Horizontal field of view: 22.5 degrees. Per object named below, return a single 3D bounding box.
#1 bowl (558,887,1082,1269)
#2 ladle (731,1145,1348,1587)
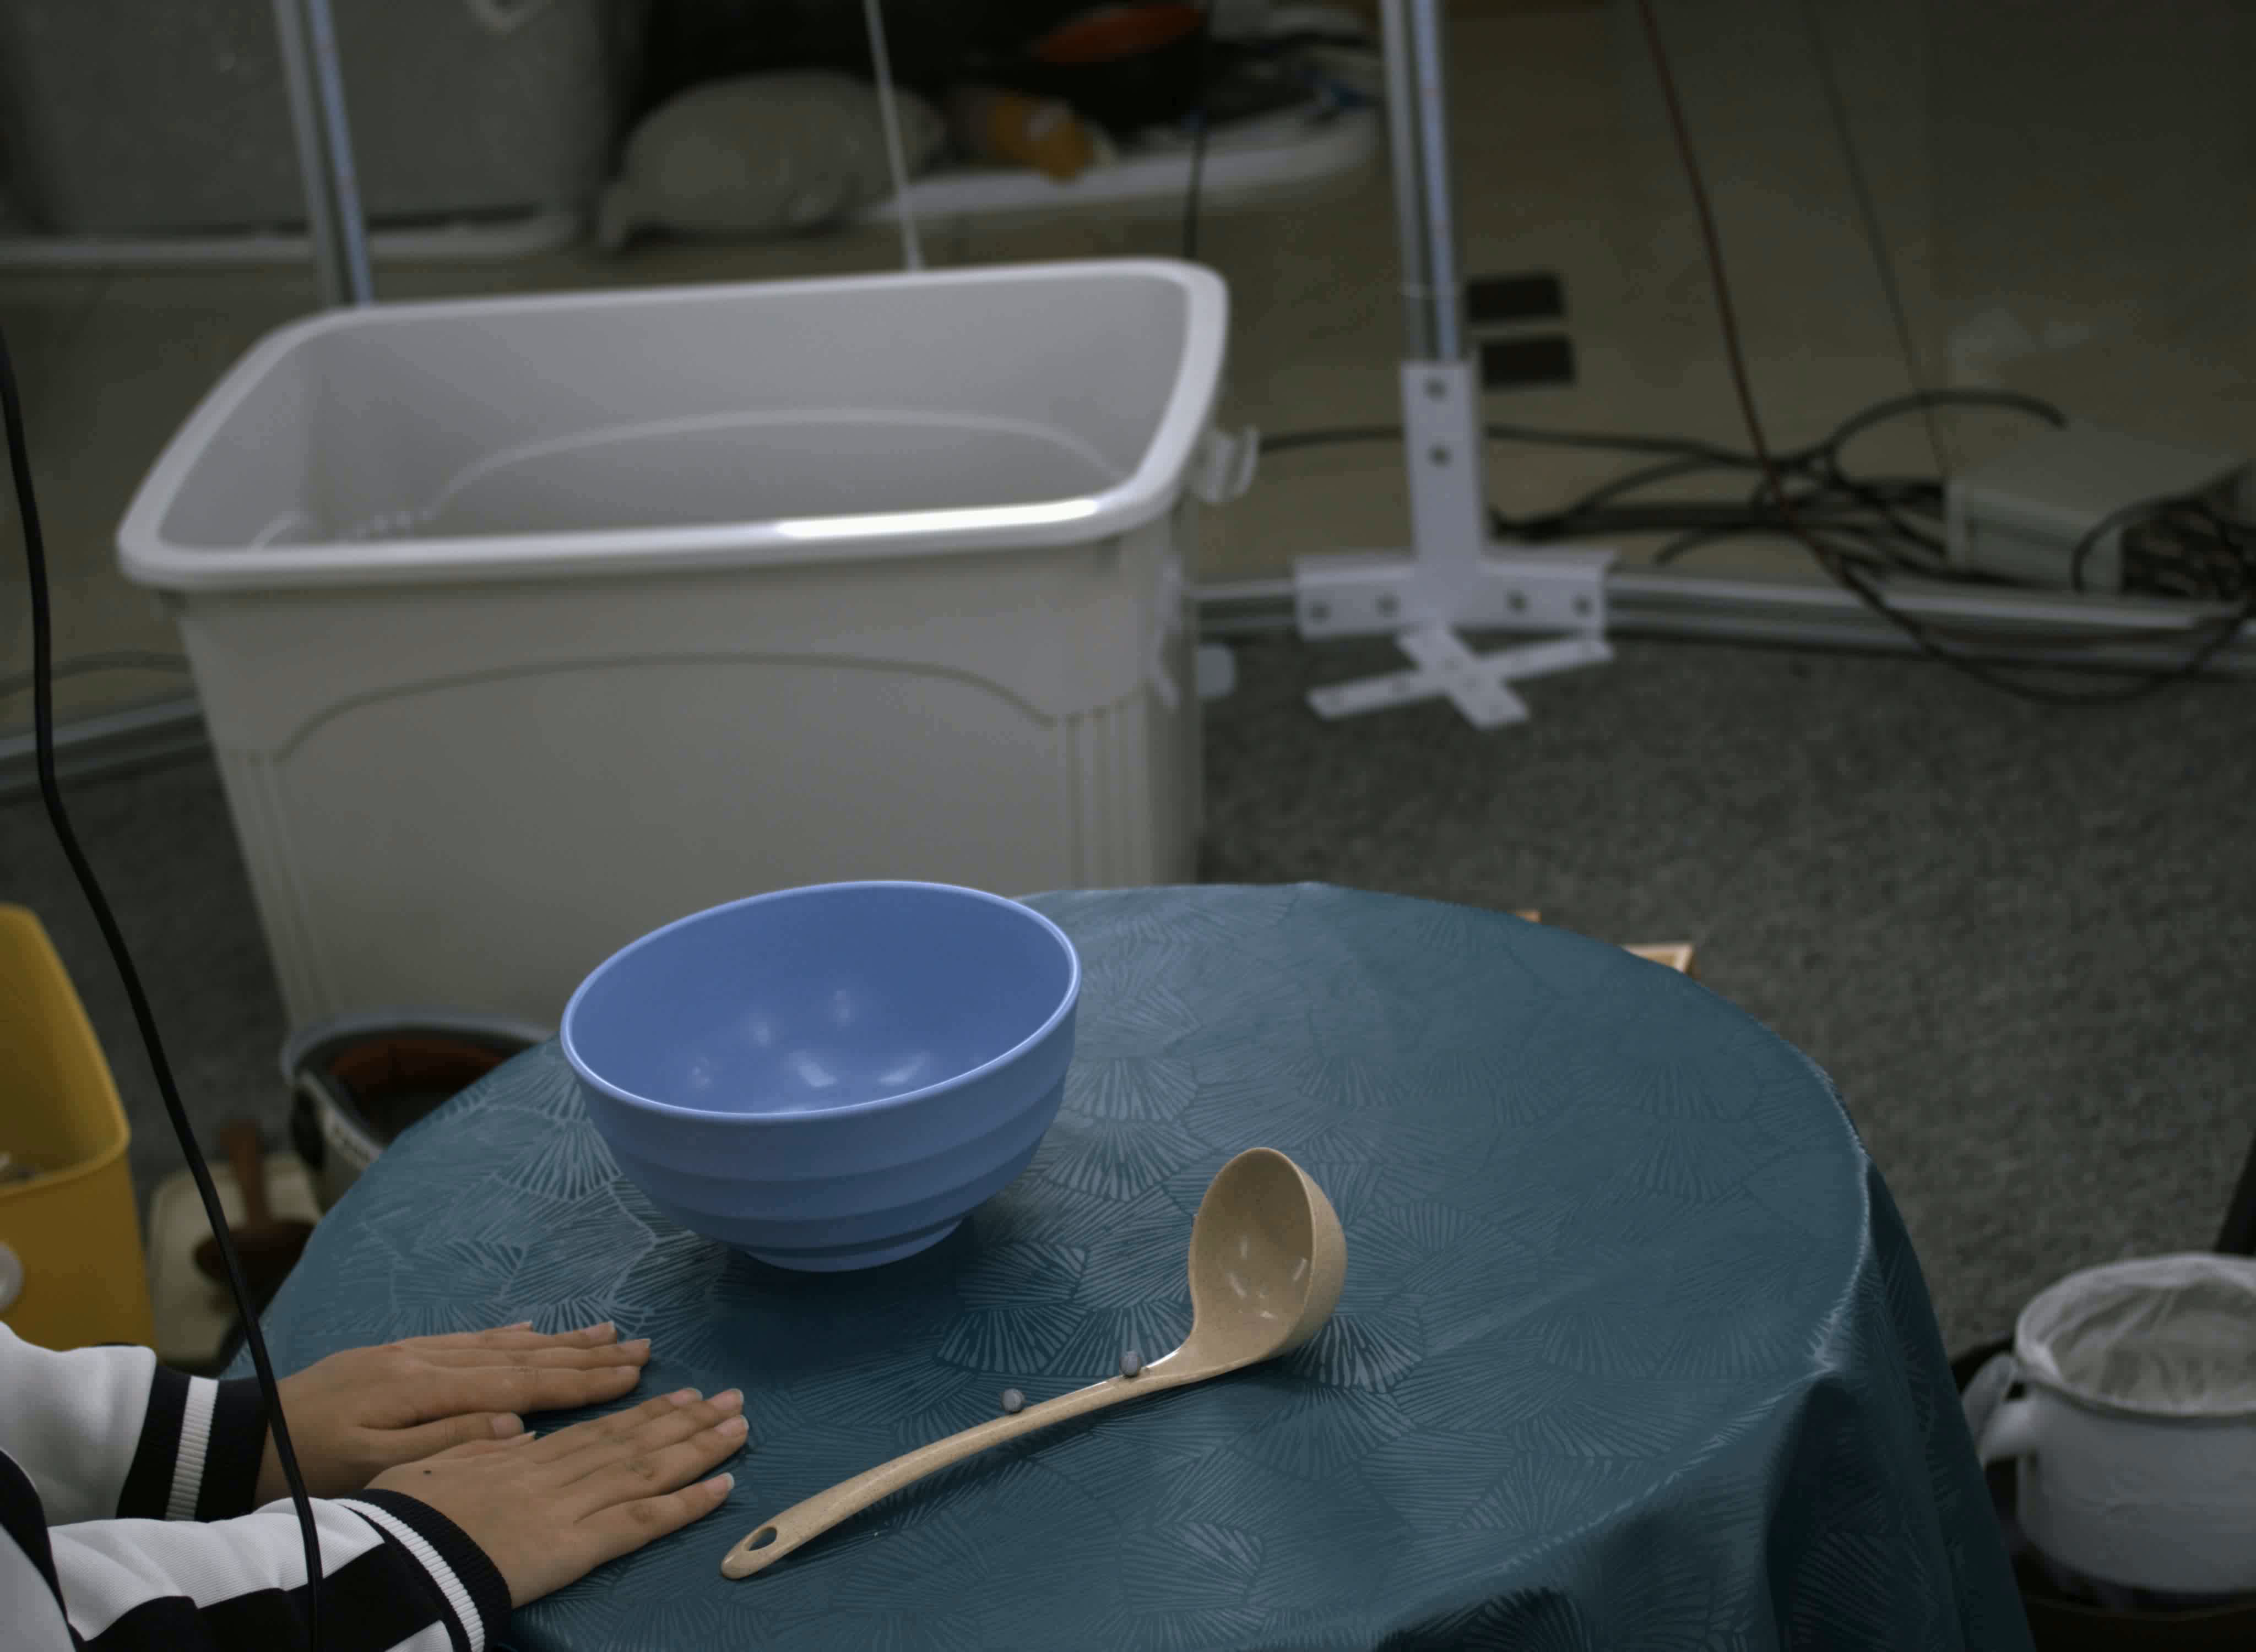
[{"bbox_3d":[-0.112,0.104,2.134,0.196,0.097,0.194,-4,23,2],"label":"bowl"},{"bbox_3d":[-0.035,0.184,1.973,0.253,0.074,0.071,-22,29,-29],"label":"ladle"}]
